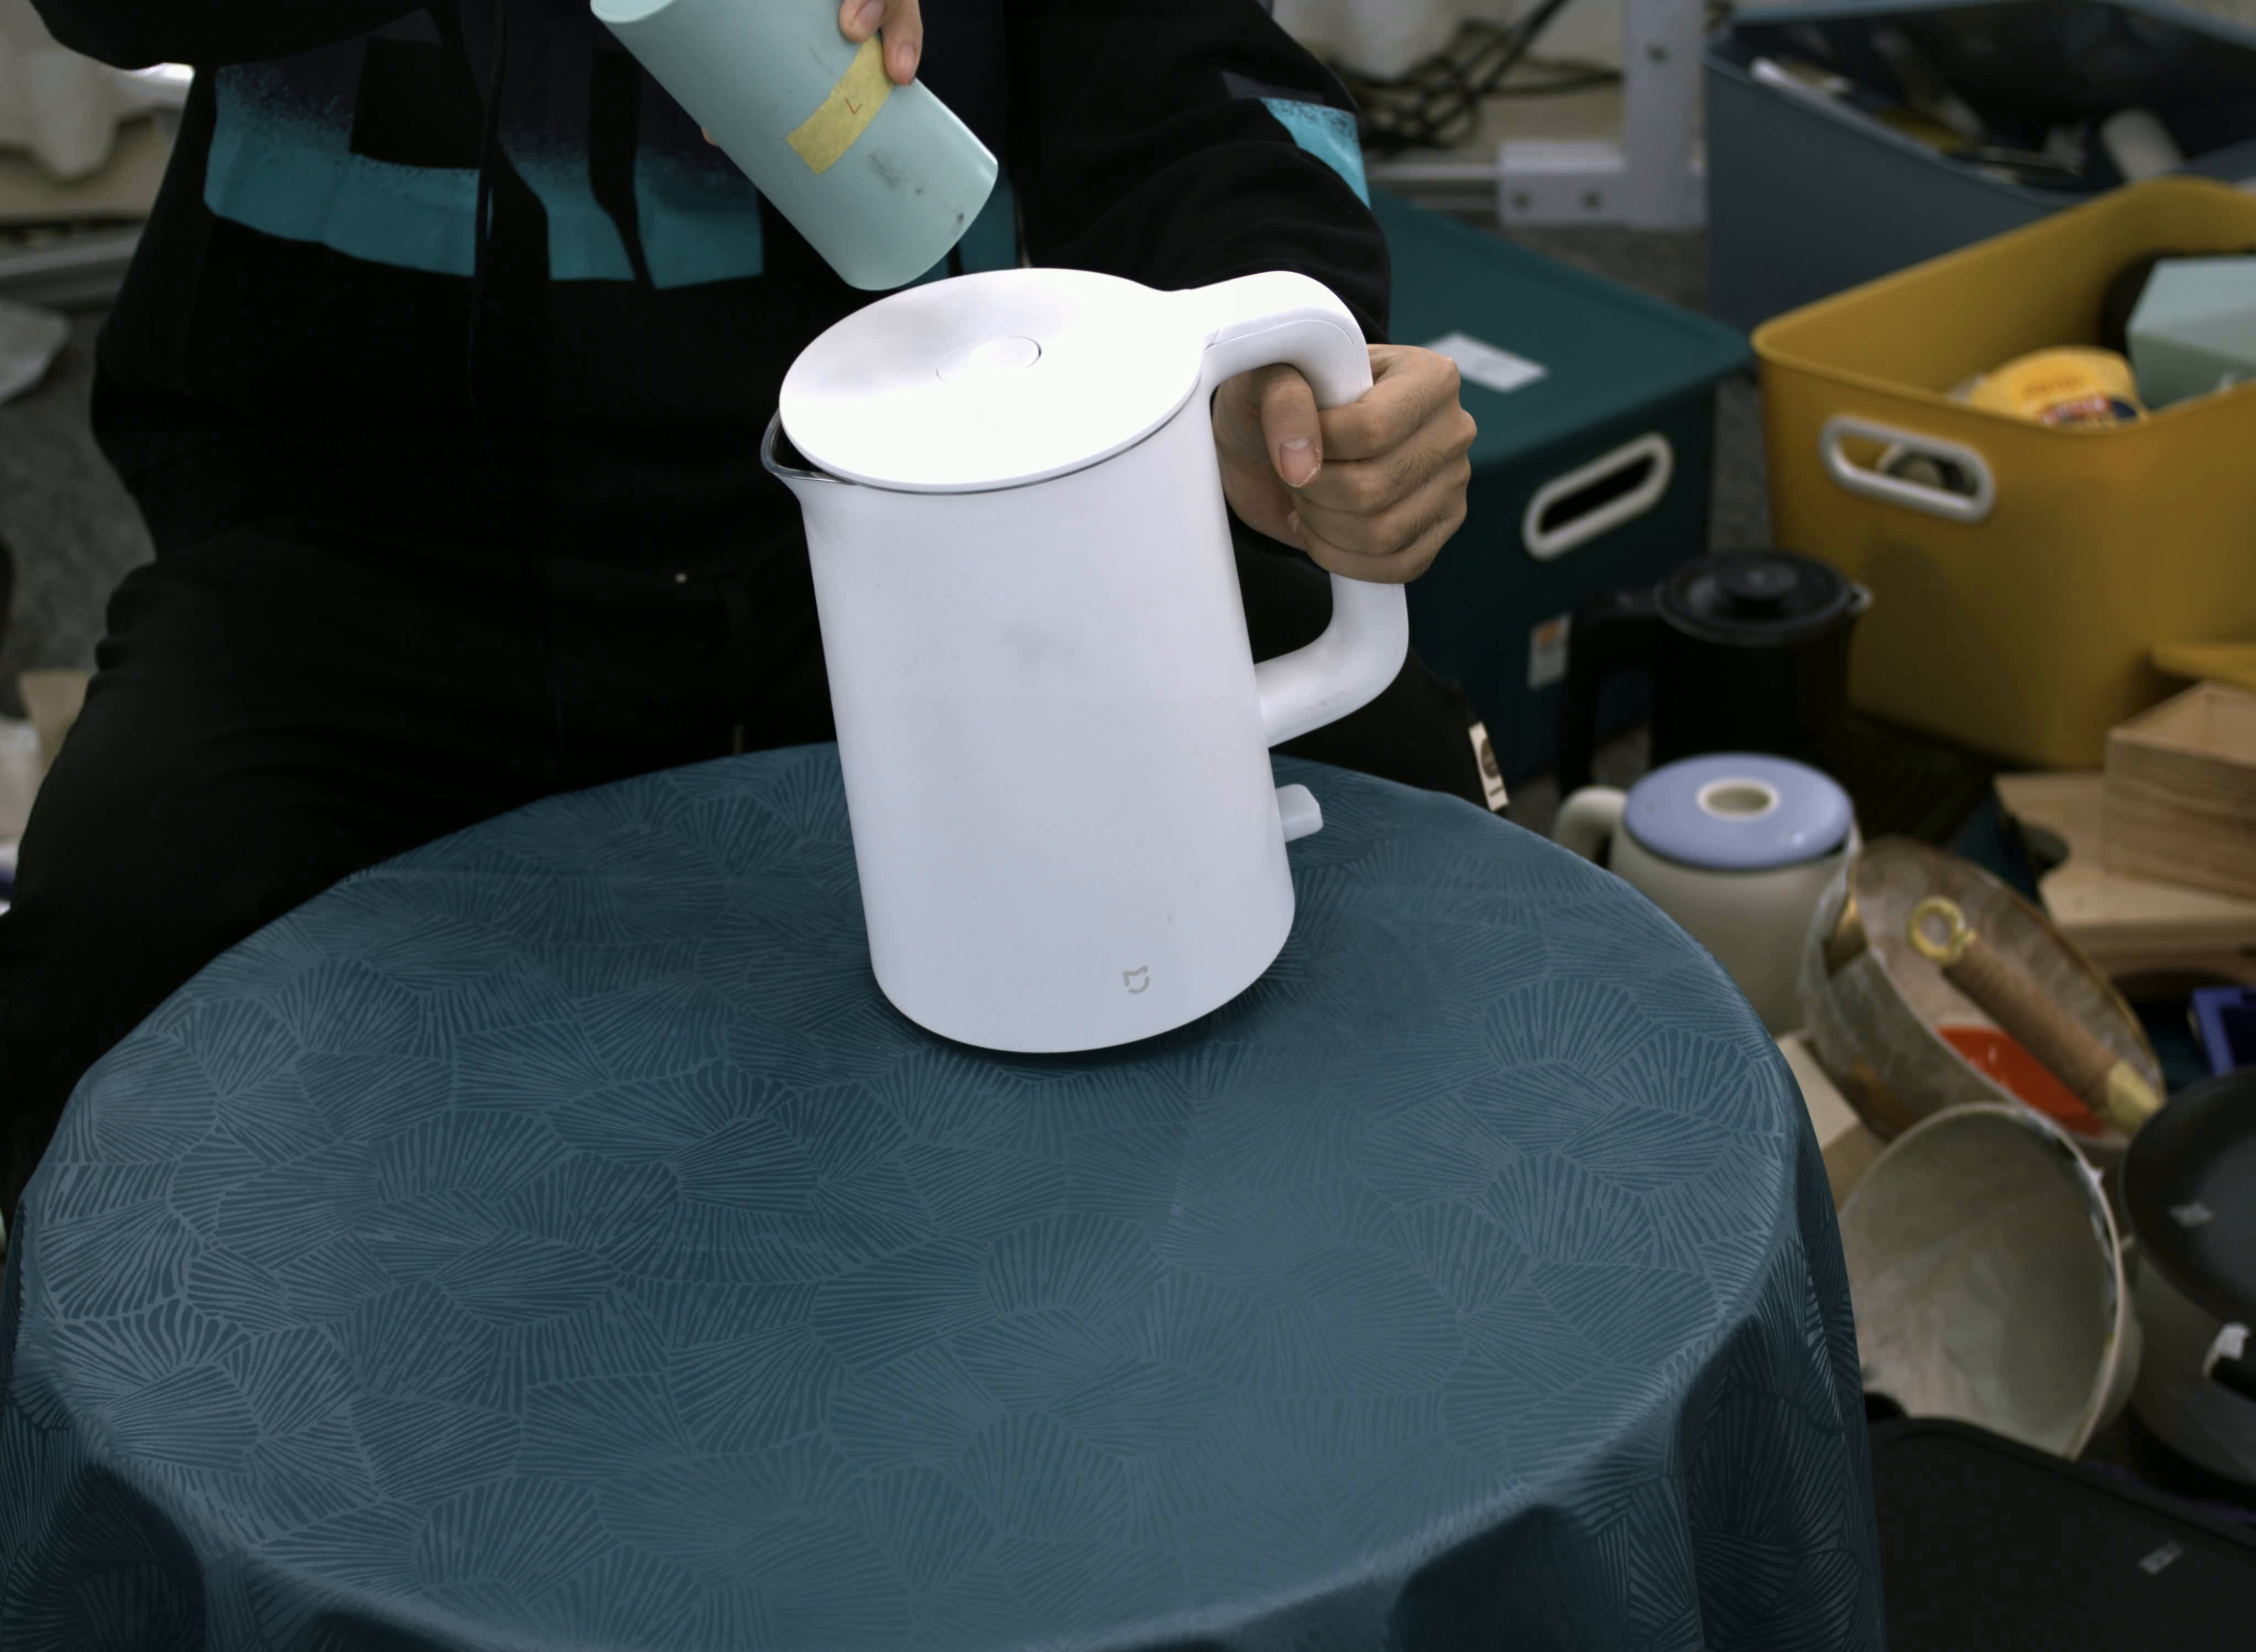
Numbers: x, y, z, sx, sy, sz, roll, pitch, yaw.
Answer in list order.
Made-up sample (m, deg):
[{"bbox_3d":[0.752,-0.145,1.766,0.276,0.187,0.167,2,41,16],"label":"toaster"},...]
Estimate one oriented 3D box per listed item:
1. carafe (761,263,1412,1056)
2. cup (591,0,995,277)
[{"bbox_3d":[-0.006,-0.065,1.938,0.213,0.237,0.154,-18,34,-12],"label":"carafe"},{"bbox_3d":[-0.109,-0.243,1.825,0.066,0.131,0.068,-29,35,23],"label":"cup"}]
